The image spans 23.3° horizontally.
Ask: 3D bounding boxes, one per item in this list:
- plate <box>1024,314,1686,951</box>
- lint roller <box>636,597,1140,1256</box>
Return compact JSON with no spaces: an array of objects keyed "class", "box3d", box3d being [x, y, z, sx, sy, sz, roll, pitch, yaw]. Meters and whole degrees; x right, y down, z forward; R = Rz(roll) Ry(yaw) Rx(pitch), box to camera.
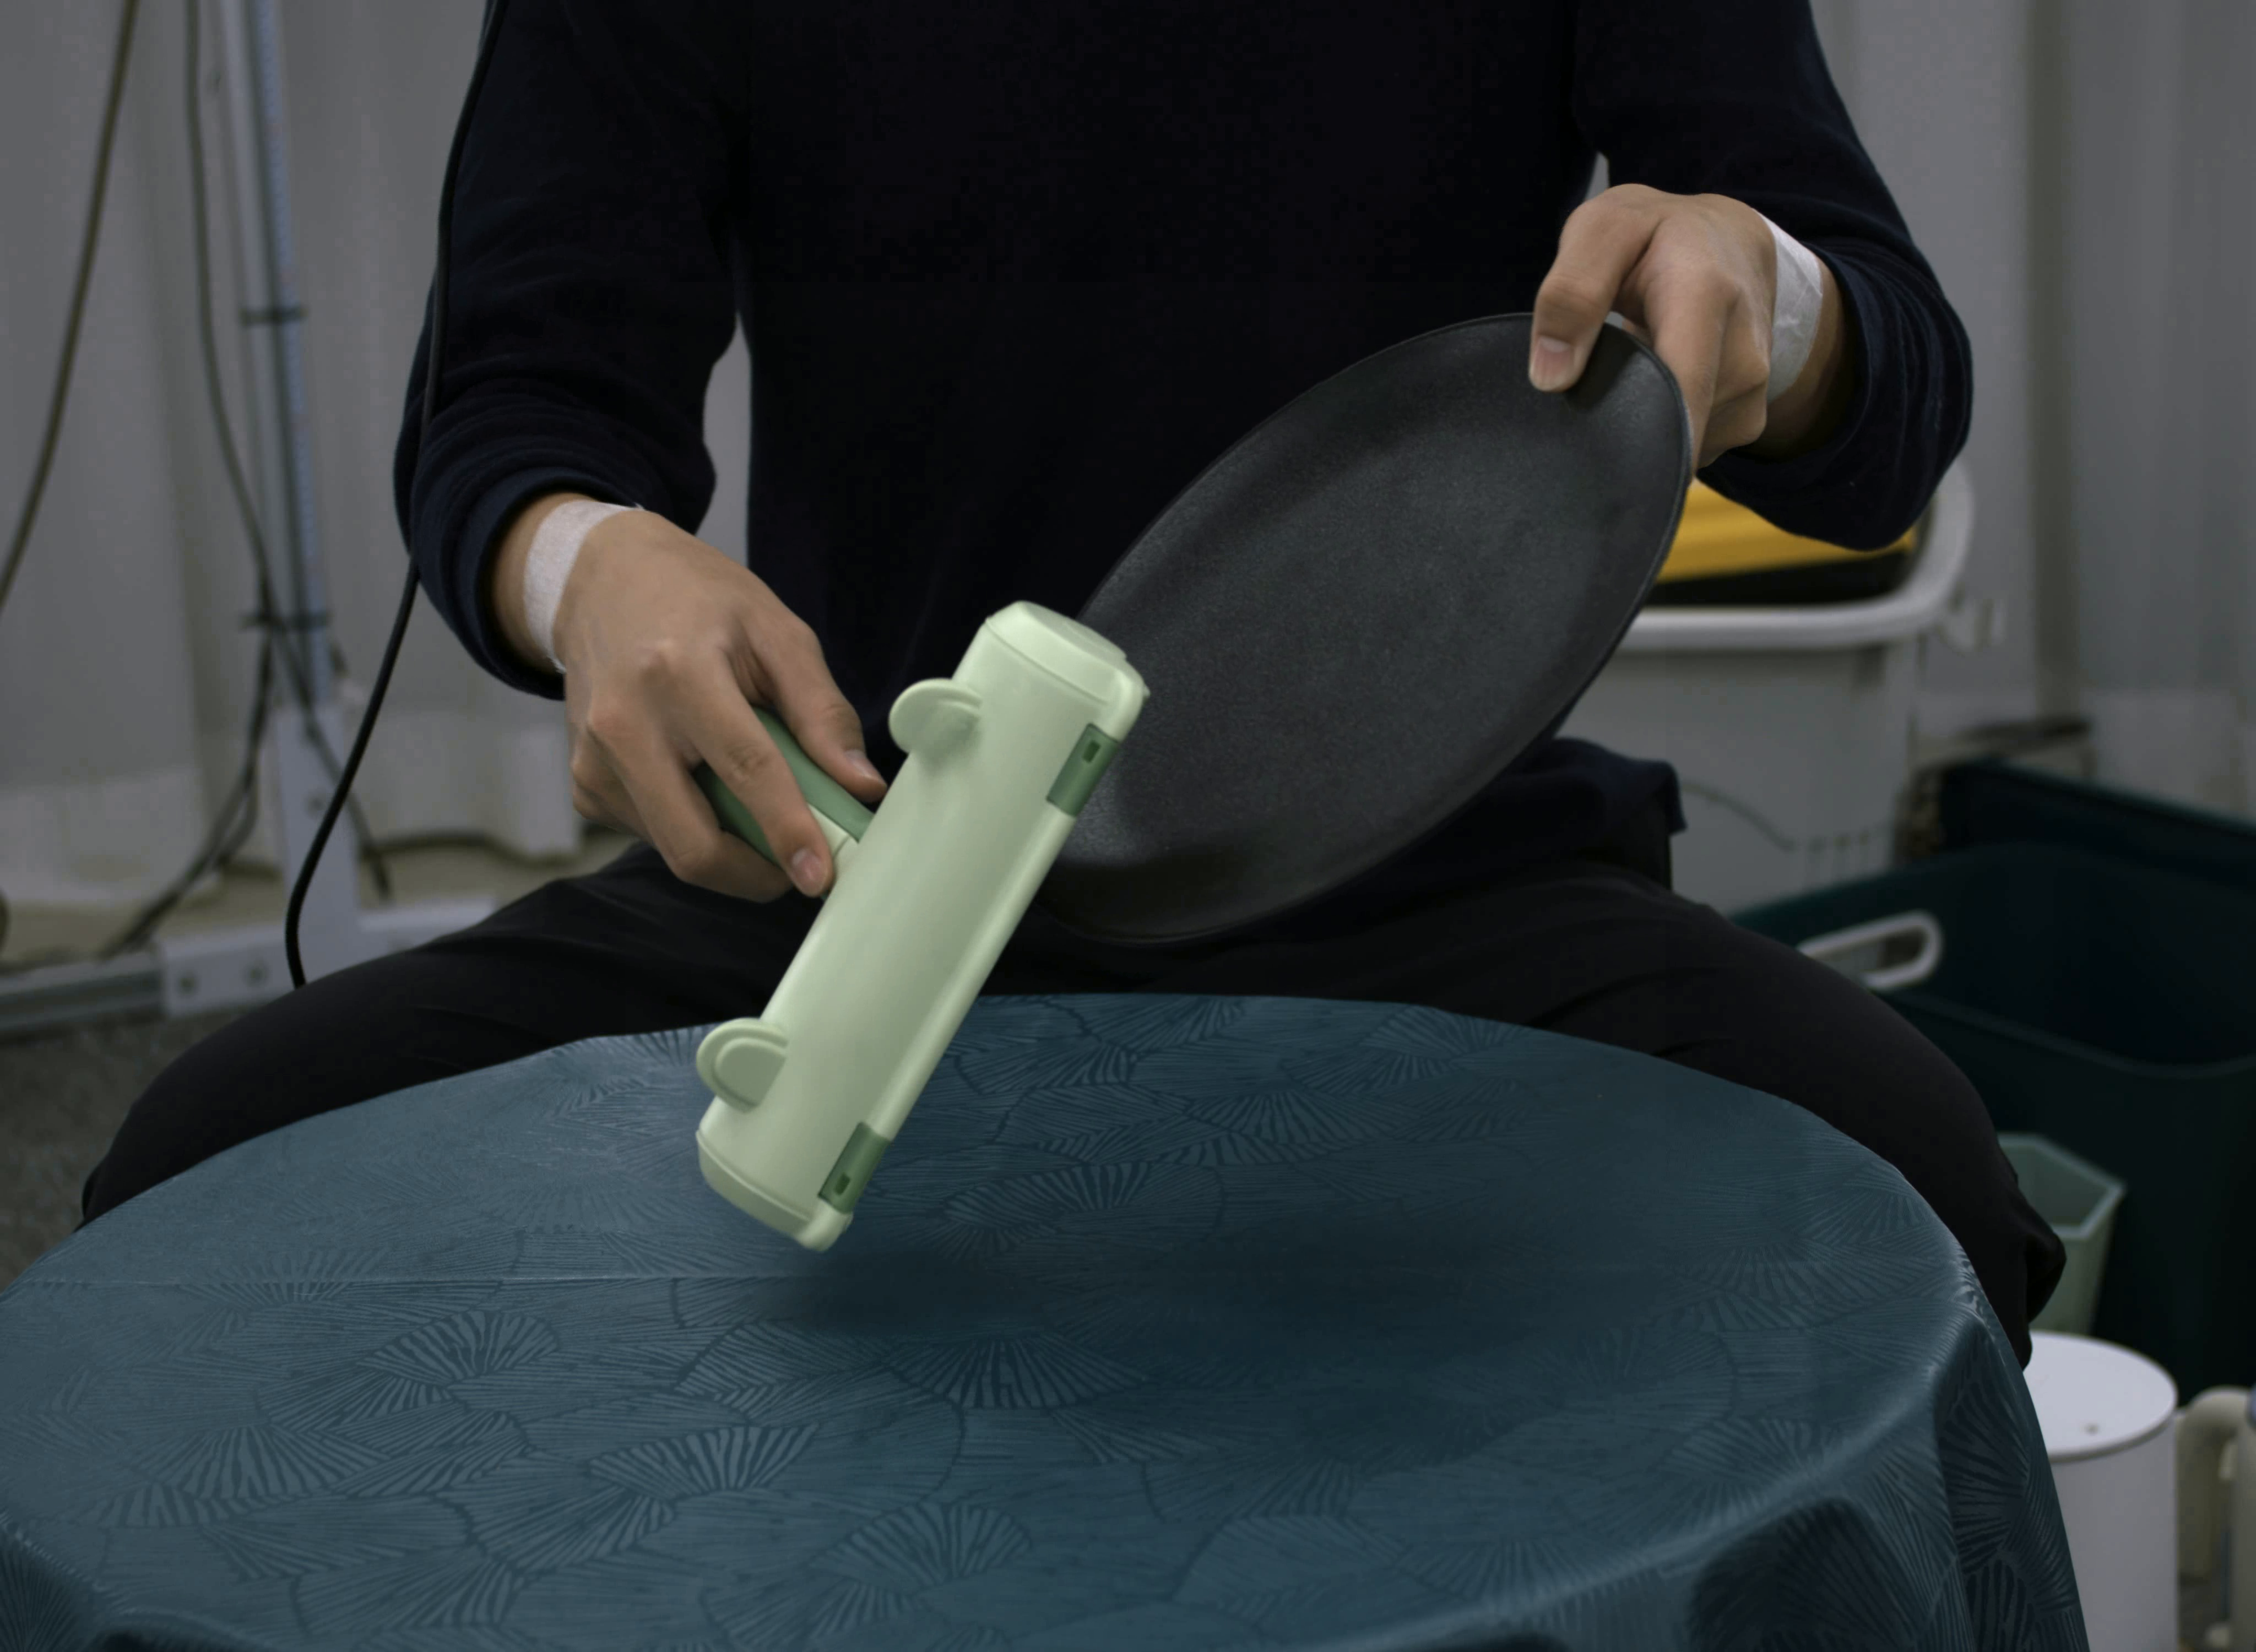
[{"class":"plate","box3d":[0.065,-0.055,1.612,0.243,0.023,0.248,-30,33,21]},{"class":"lint roller","box3d":[-0.103,0.000,1.626,0.185,0.198,0.081,35,10,34]}]
